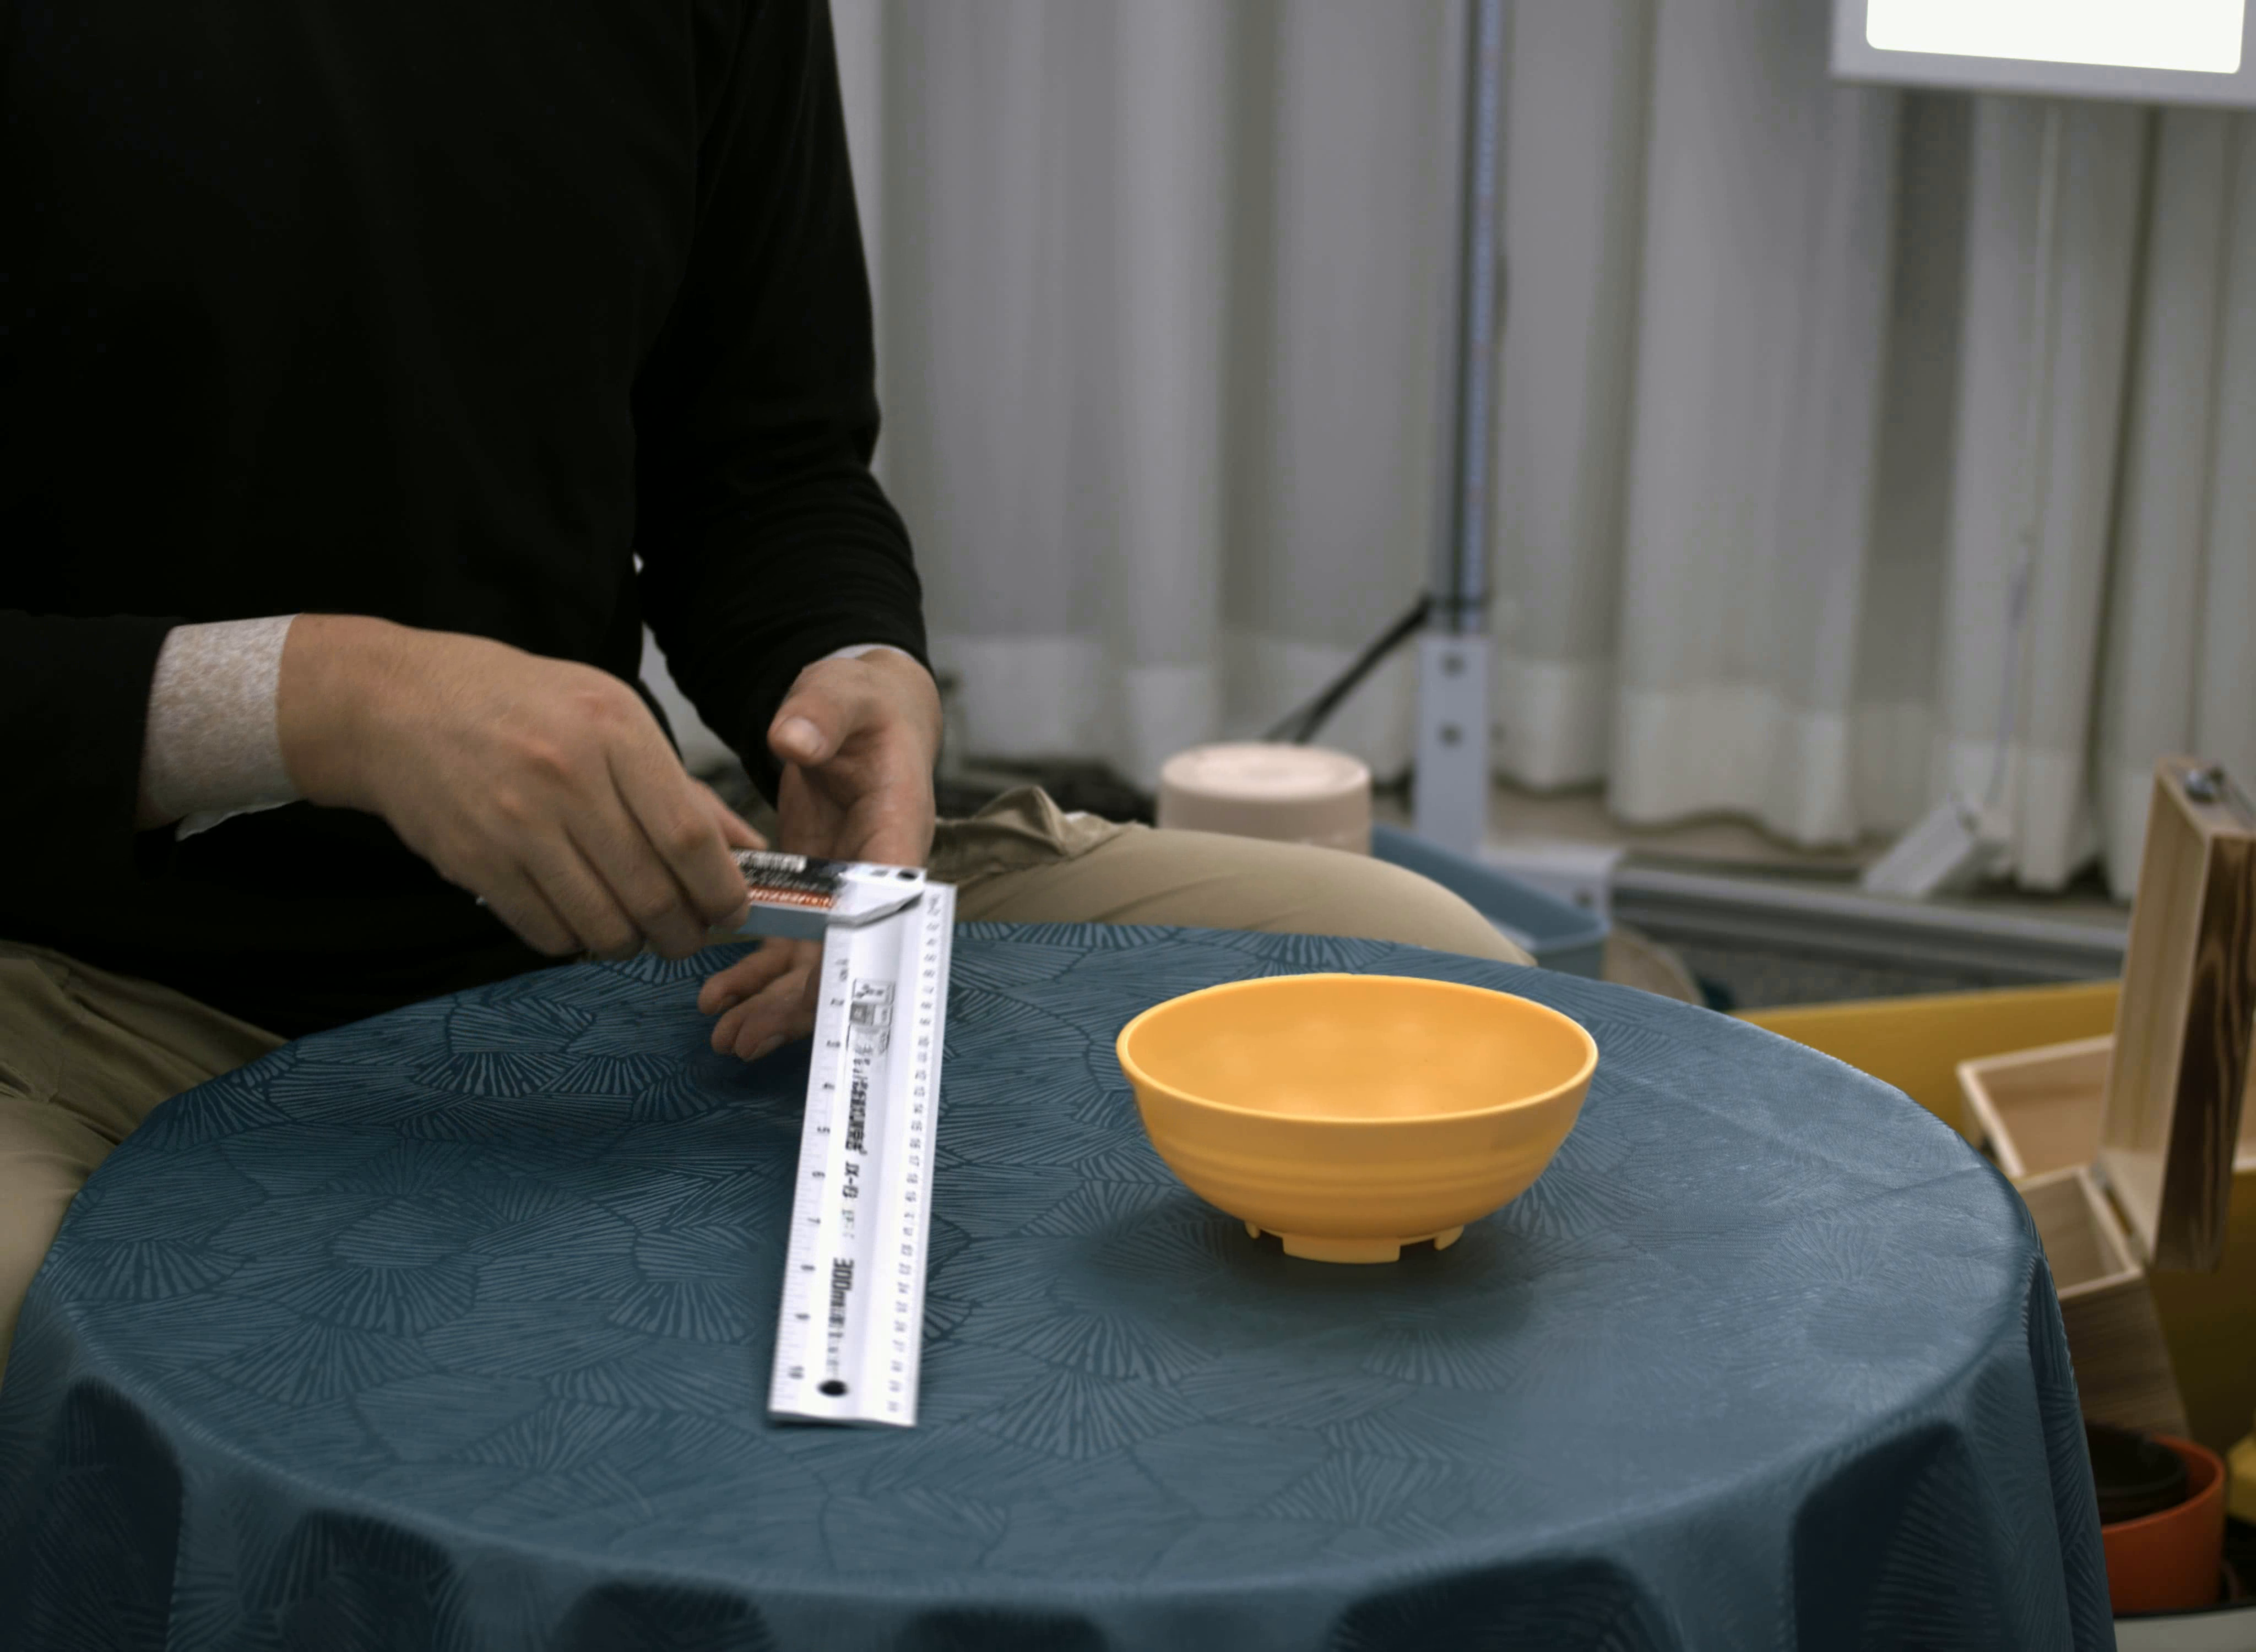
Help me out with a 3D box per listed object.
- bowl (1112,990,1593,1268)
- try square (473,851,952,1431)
[{"bbox_3d":[0.067,0.095,1.583,0.145,0.060,0.144,1,13,0],"label":"bowl"},{"bbox_3d":[-0.130,0.088,1.562,0.152,0.016,0.310,4,27,-3],"label":"try square"}]
